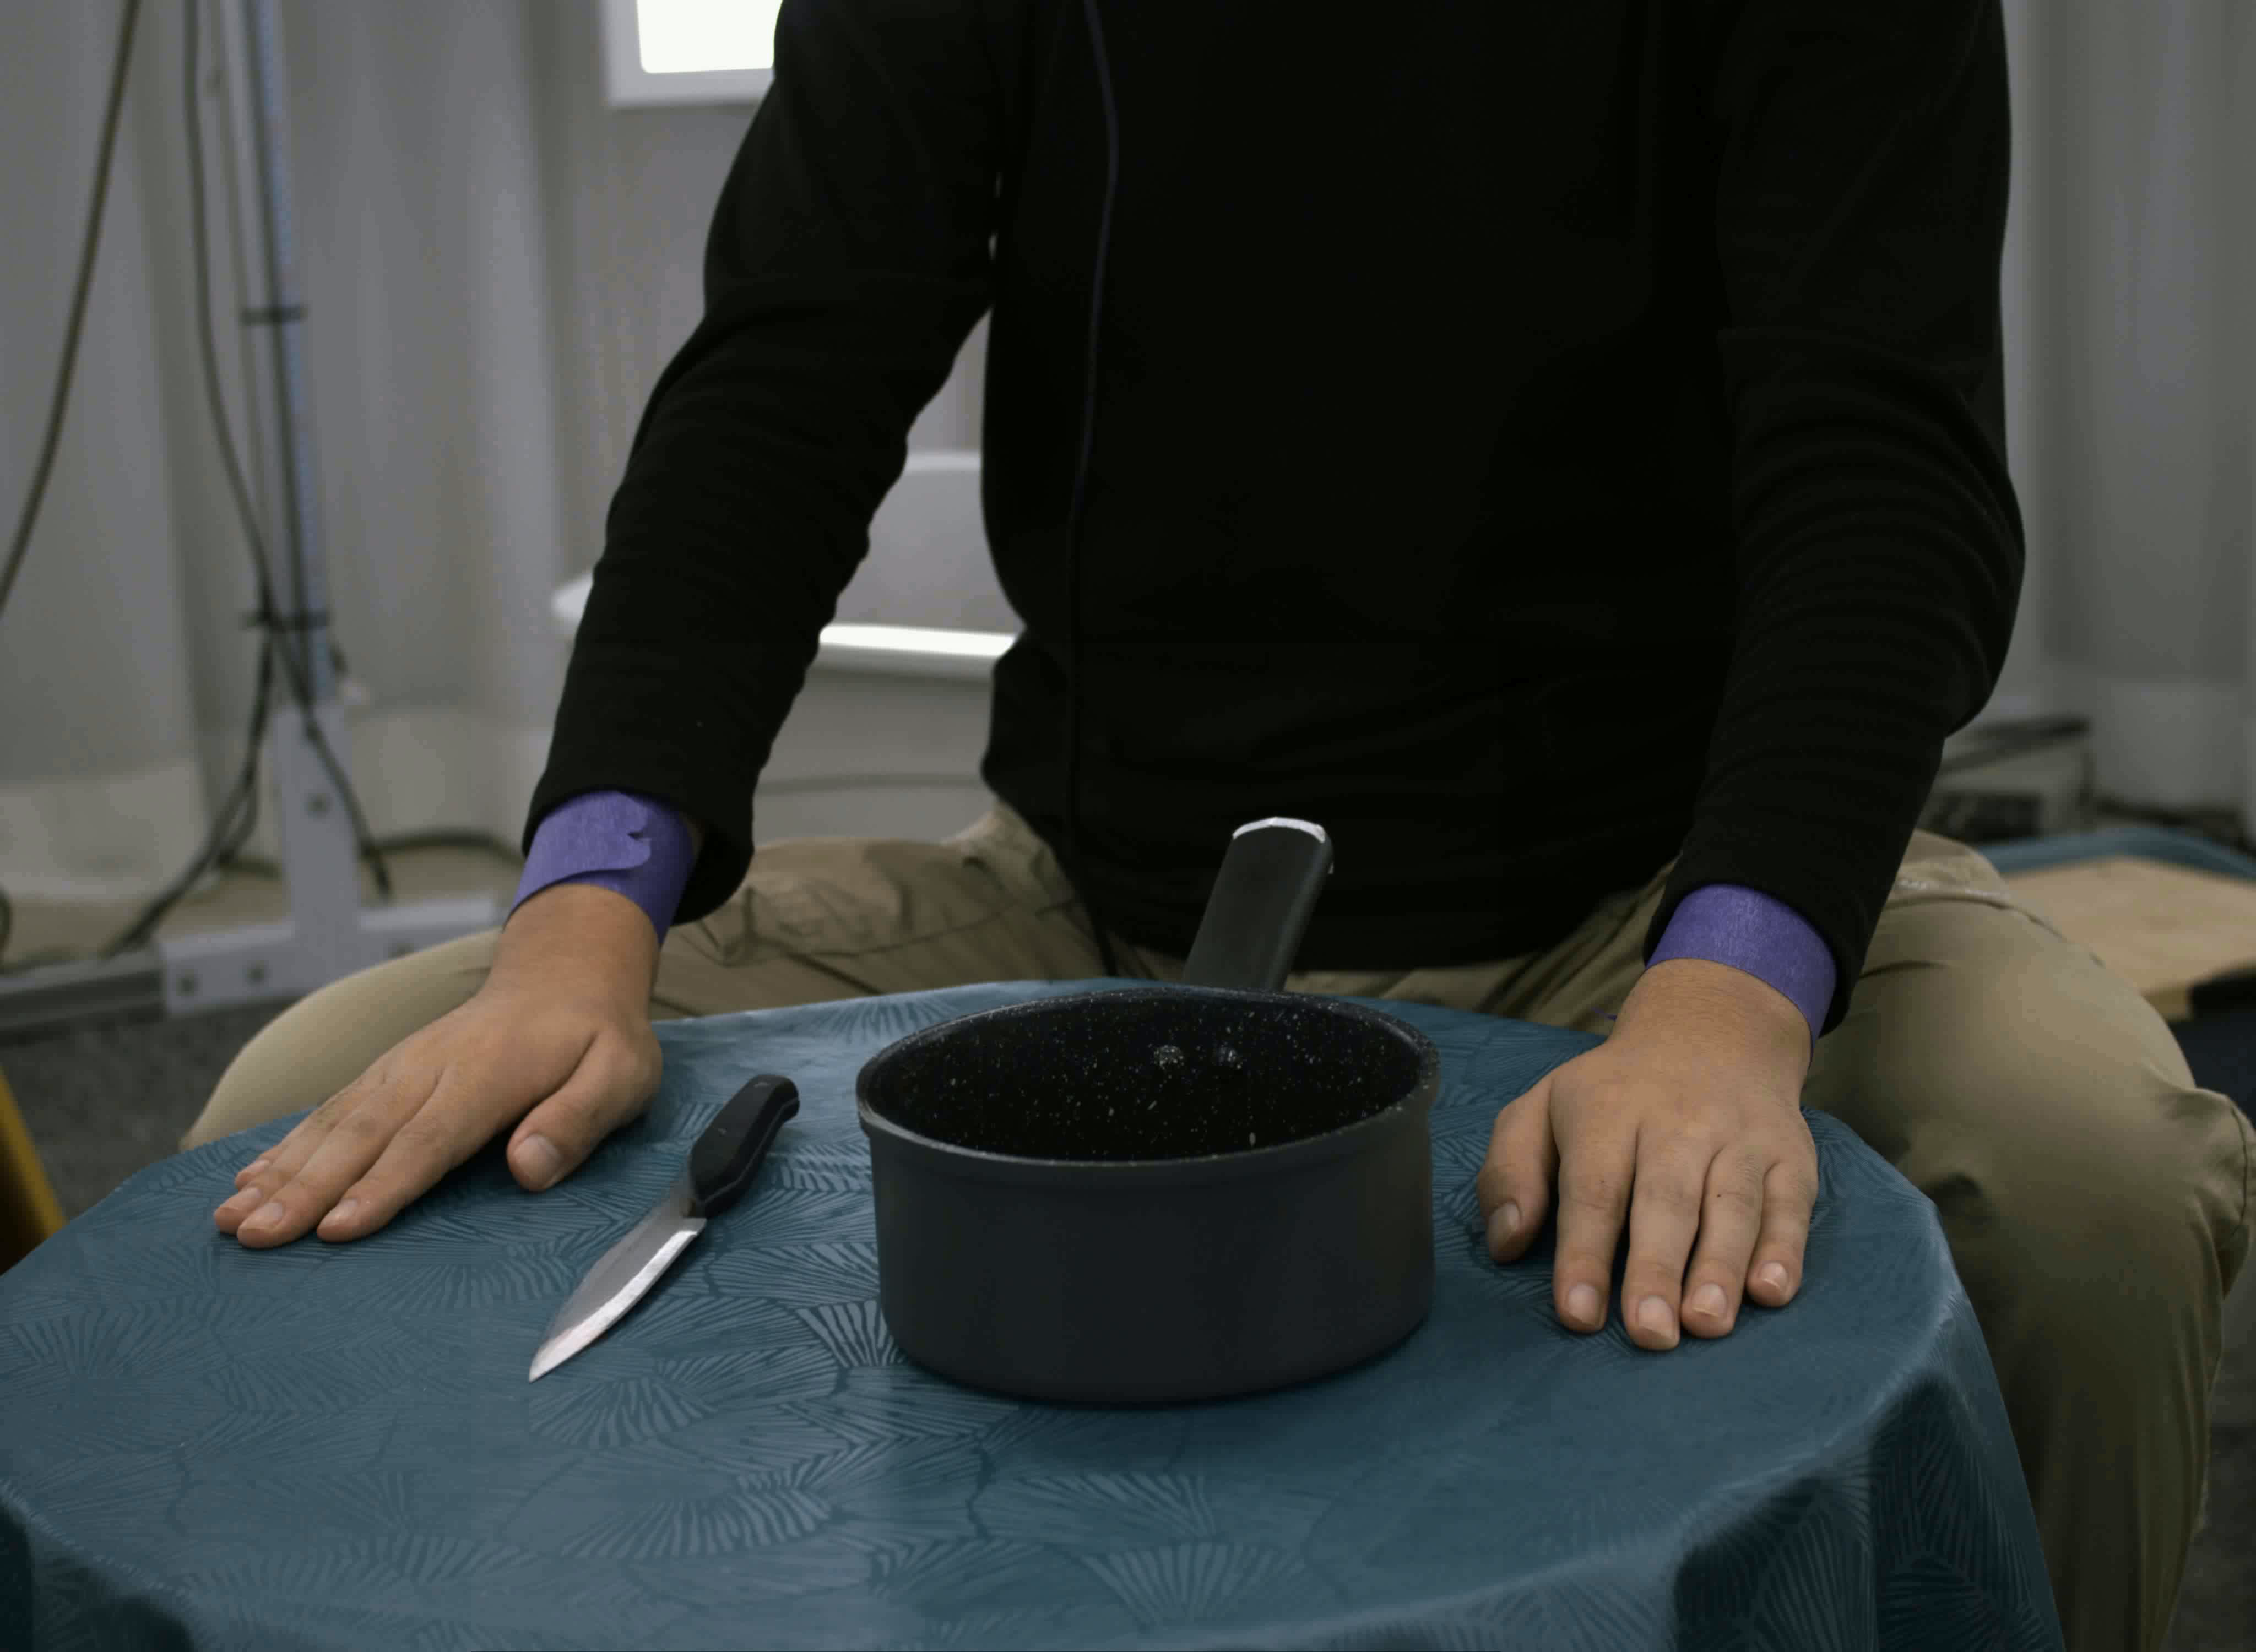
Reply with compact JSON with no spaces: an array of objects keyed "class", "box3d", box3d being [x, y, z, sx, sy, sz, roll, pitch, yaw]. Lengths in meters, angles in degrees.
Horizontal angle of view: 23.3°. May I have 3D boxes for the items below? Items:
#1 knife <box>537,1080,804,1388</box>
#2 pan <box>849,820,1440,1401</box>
[{"class":"knife","box3d":[-0.143,0.125,1.684,0.024,0.016,0.239,3,19,13]},{"class":"pan","box3d":[0.026,0.083,1.668,0.172,0.086,0.330,1,16,15]}]
